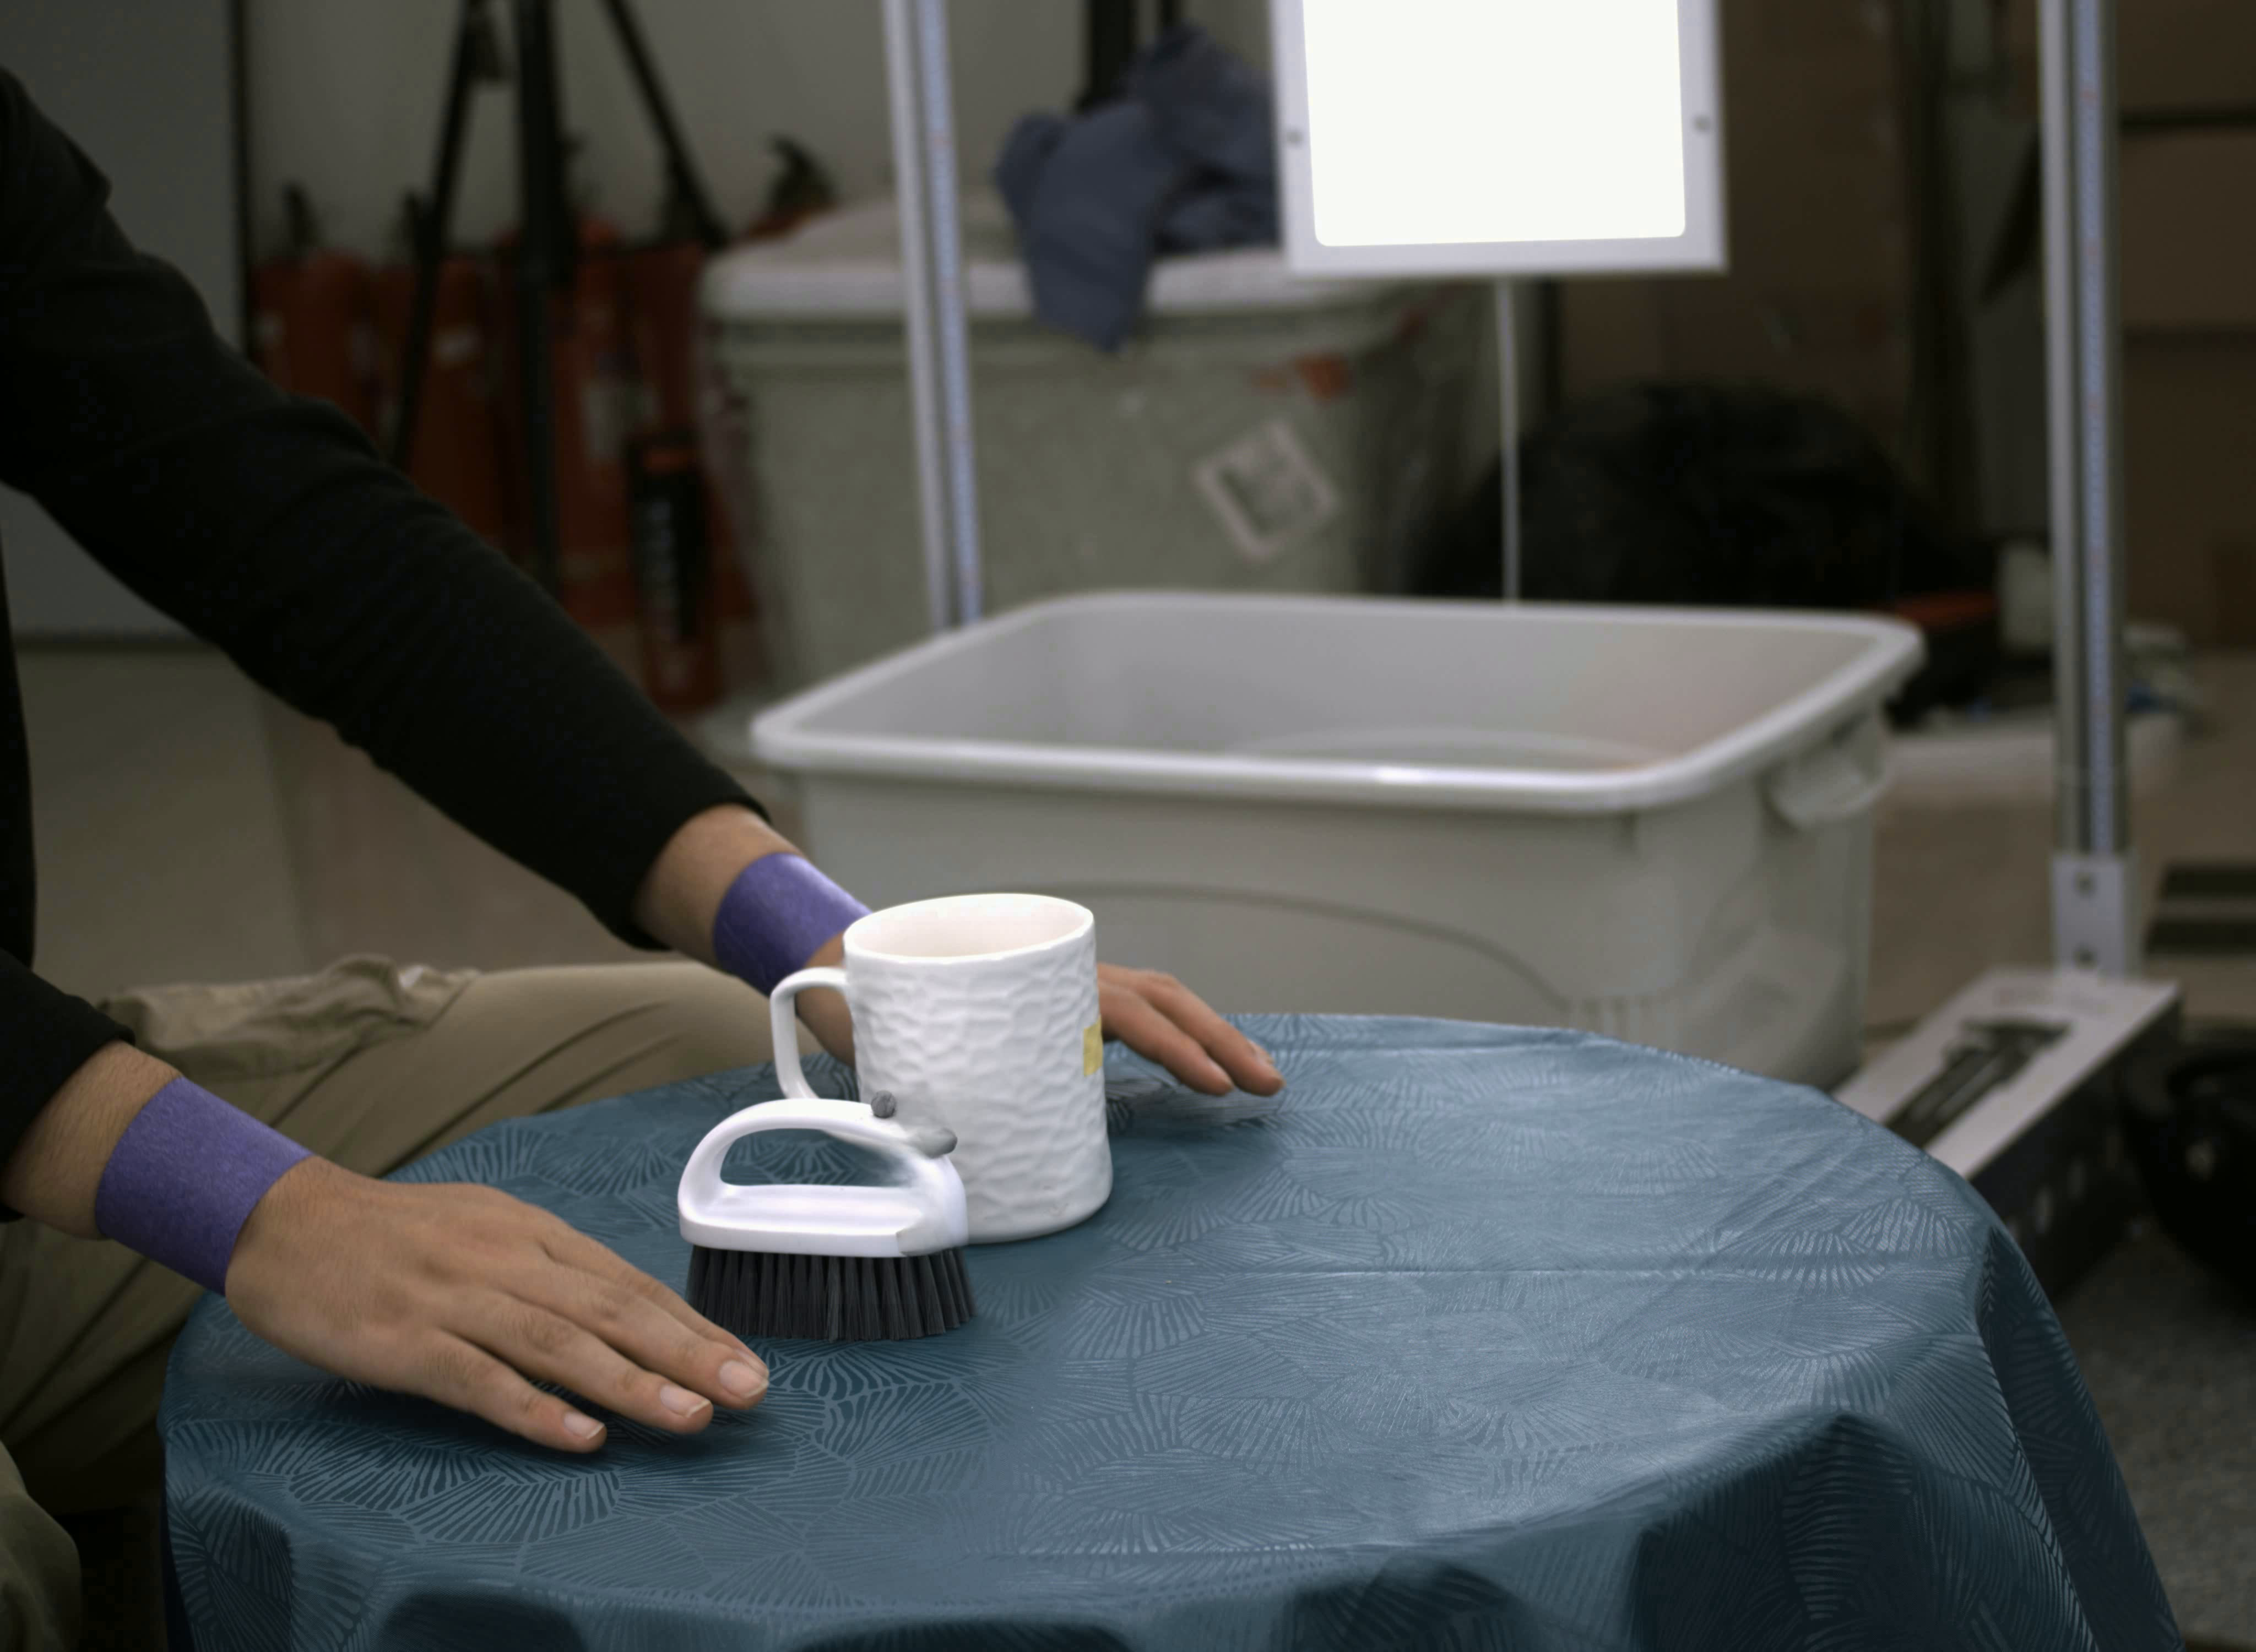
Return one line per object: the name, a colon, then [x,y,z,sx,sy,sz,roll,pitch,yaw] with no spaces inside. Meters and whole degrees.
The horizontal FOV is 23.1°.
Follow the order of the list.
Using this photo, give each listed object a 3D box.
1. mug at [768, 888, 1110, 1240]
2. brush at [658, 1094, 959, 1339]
mug: [-0.066,0.081,1.885,0.120,0.102,0.083,0,15,21]
brush: [-0.103,0.123,1.787,0.100,0.073,0.049,4,11,14]
